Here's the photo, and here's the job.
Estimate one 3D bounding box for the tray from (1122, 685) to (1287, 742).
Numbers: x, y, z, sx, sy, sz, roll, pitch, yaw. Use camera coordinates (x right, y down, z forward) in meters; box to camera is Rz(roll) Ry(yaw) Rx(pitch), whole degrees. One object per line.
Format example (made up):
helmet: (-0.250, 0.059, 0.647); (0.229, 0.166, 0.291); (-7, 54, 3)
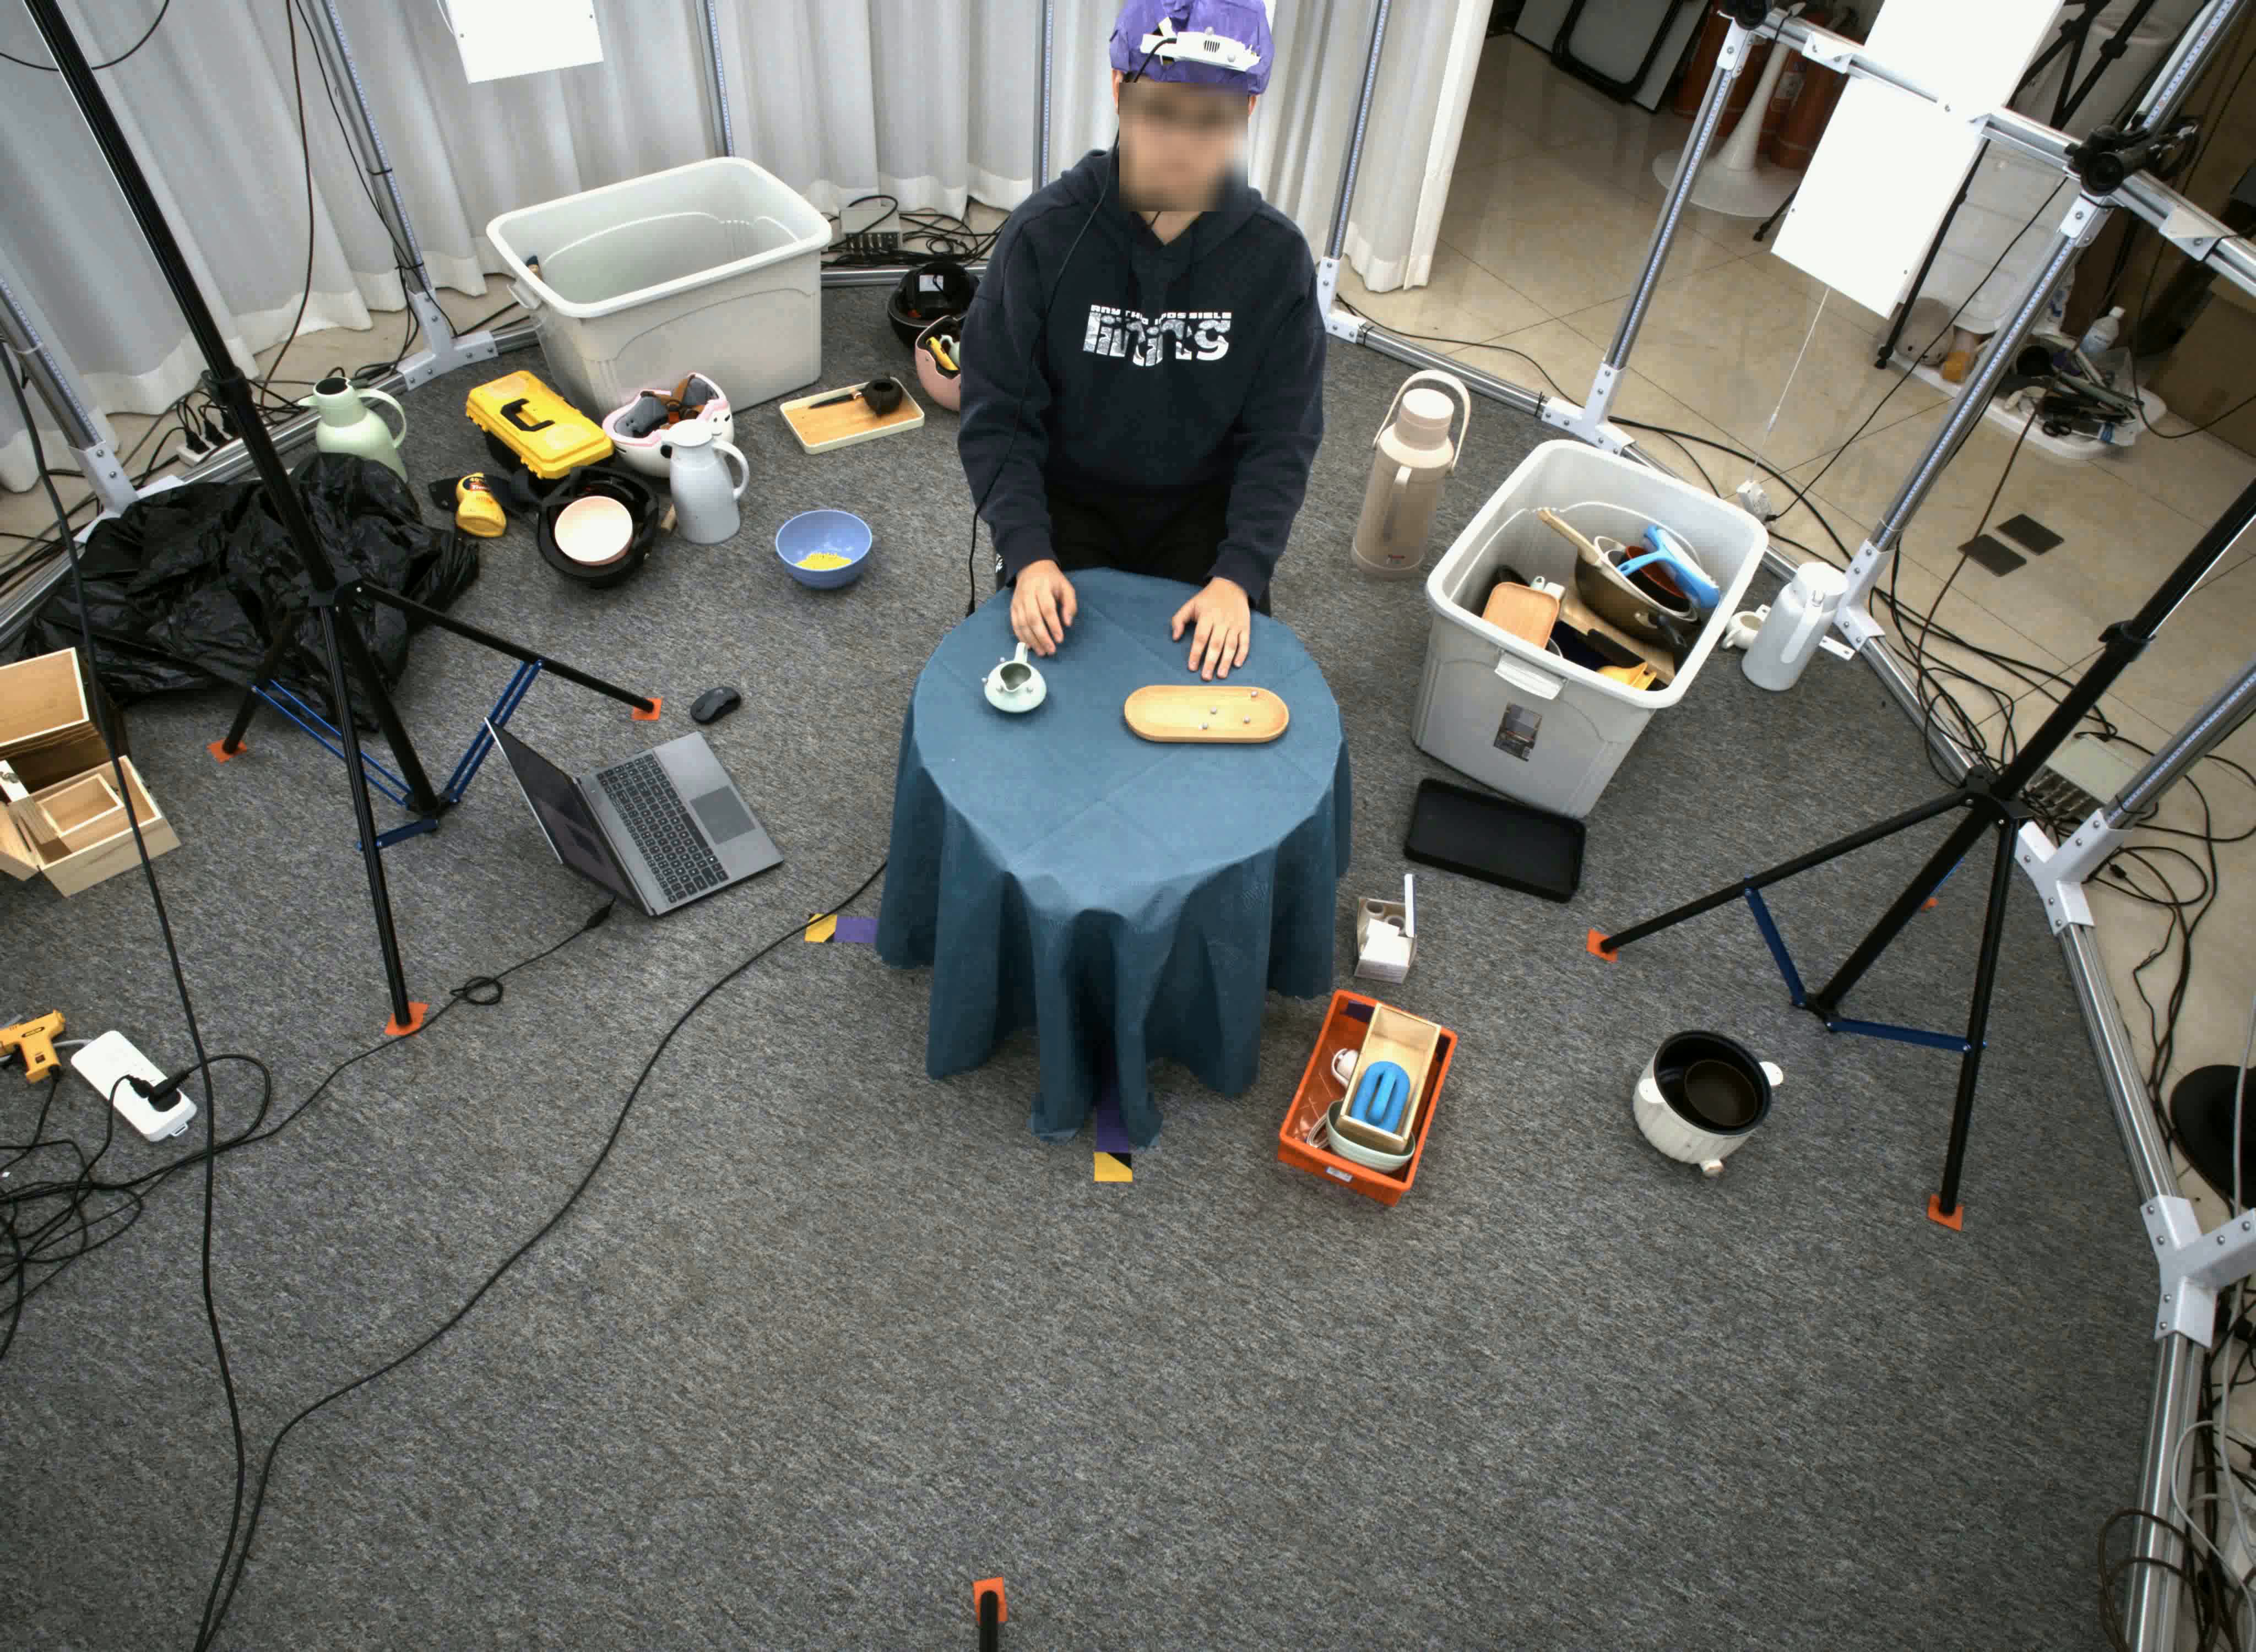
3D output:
tray: (0.107, -0.157, 1.800); (0.231, 0.020, 0.104); (-1, 48, -3)

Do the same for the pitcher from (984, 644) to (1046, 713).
pitcher: (-0.155, -0.205, 1.795); (0.086, 0.059, 0.110); (7, 47, 0)
